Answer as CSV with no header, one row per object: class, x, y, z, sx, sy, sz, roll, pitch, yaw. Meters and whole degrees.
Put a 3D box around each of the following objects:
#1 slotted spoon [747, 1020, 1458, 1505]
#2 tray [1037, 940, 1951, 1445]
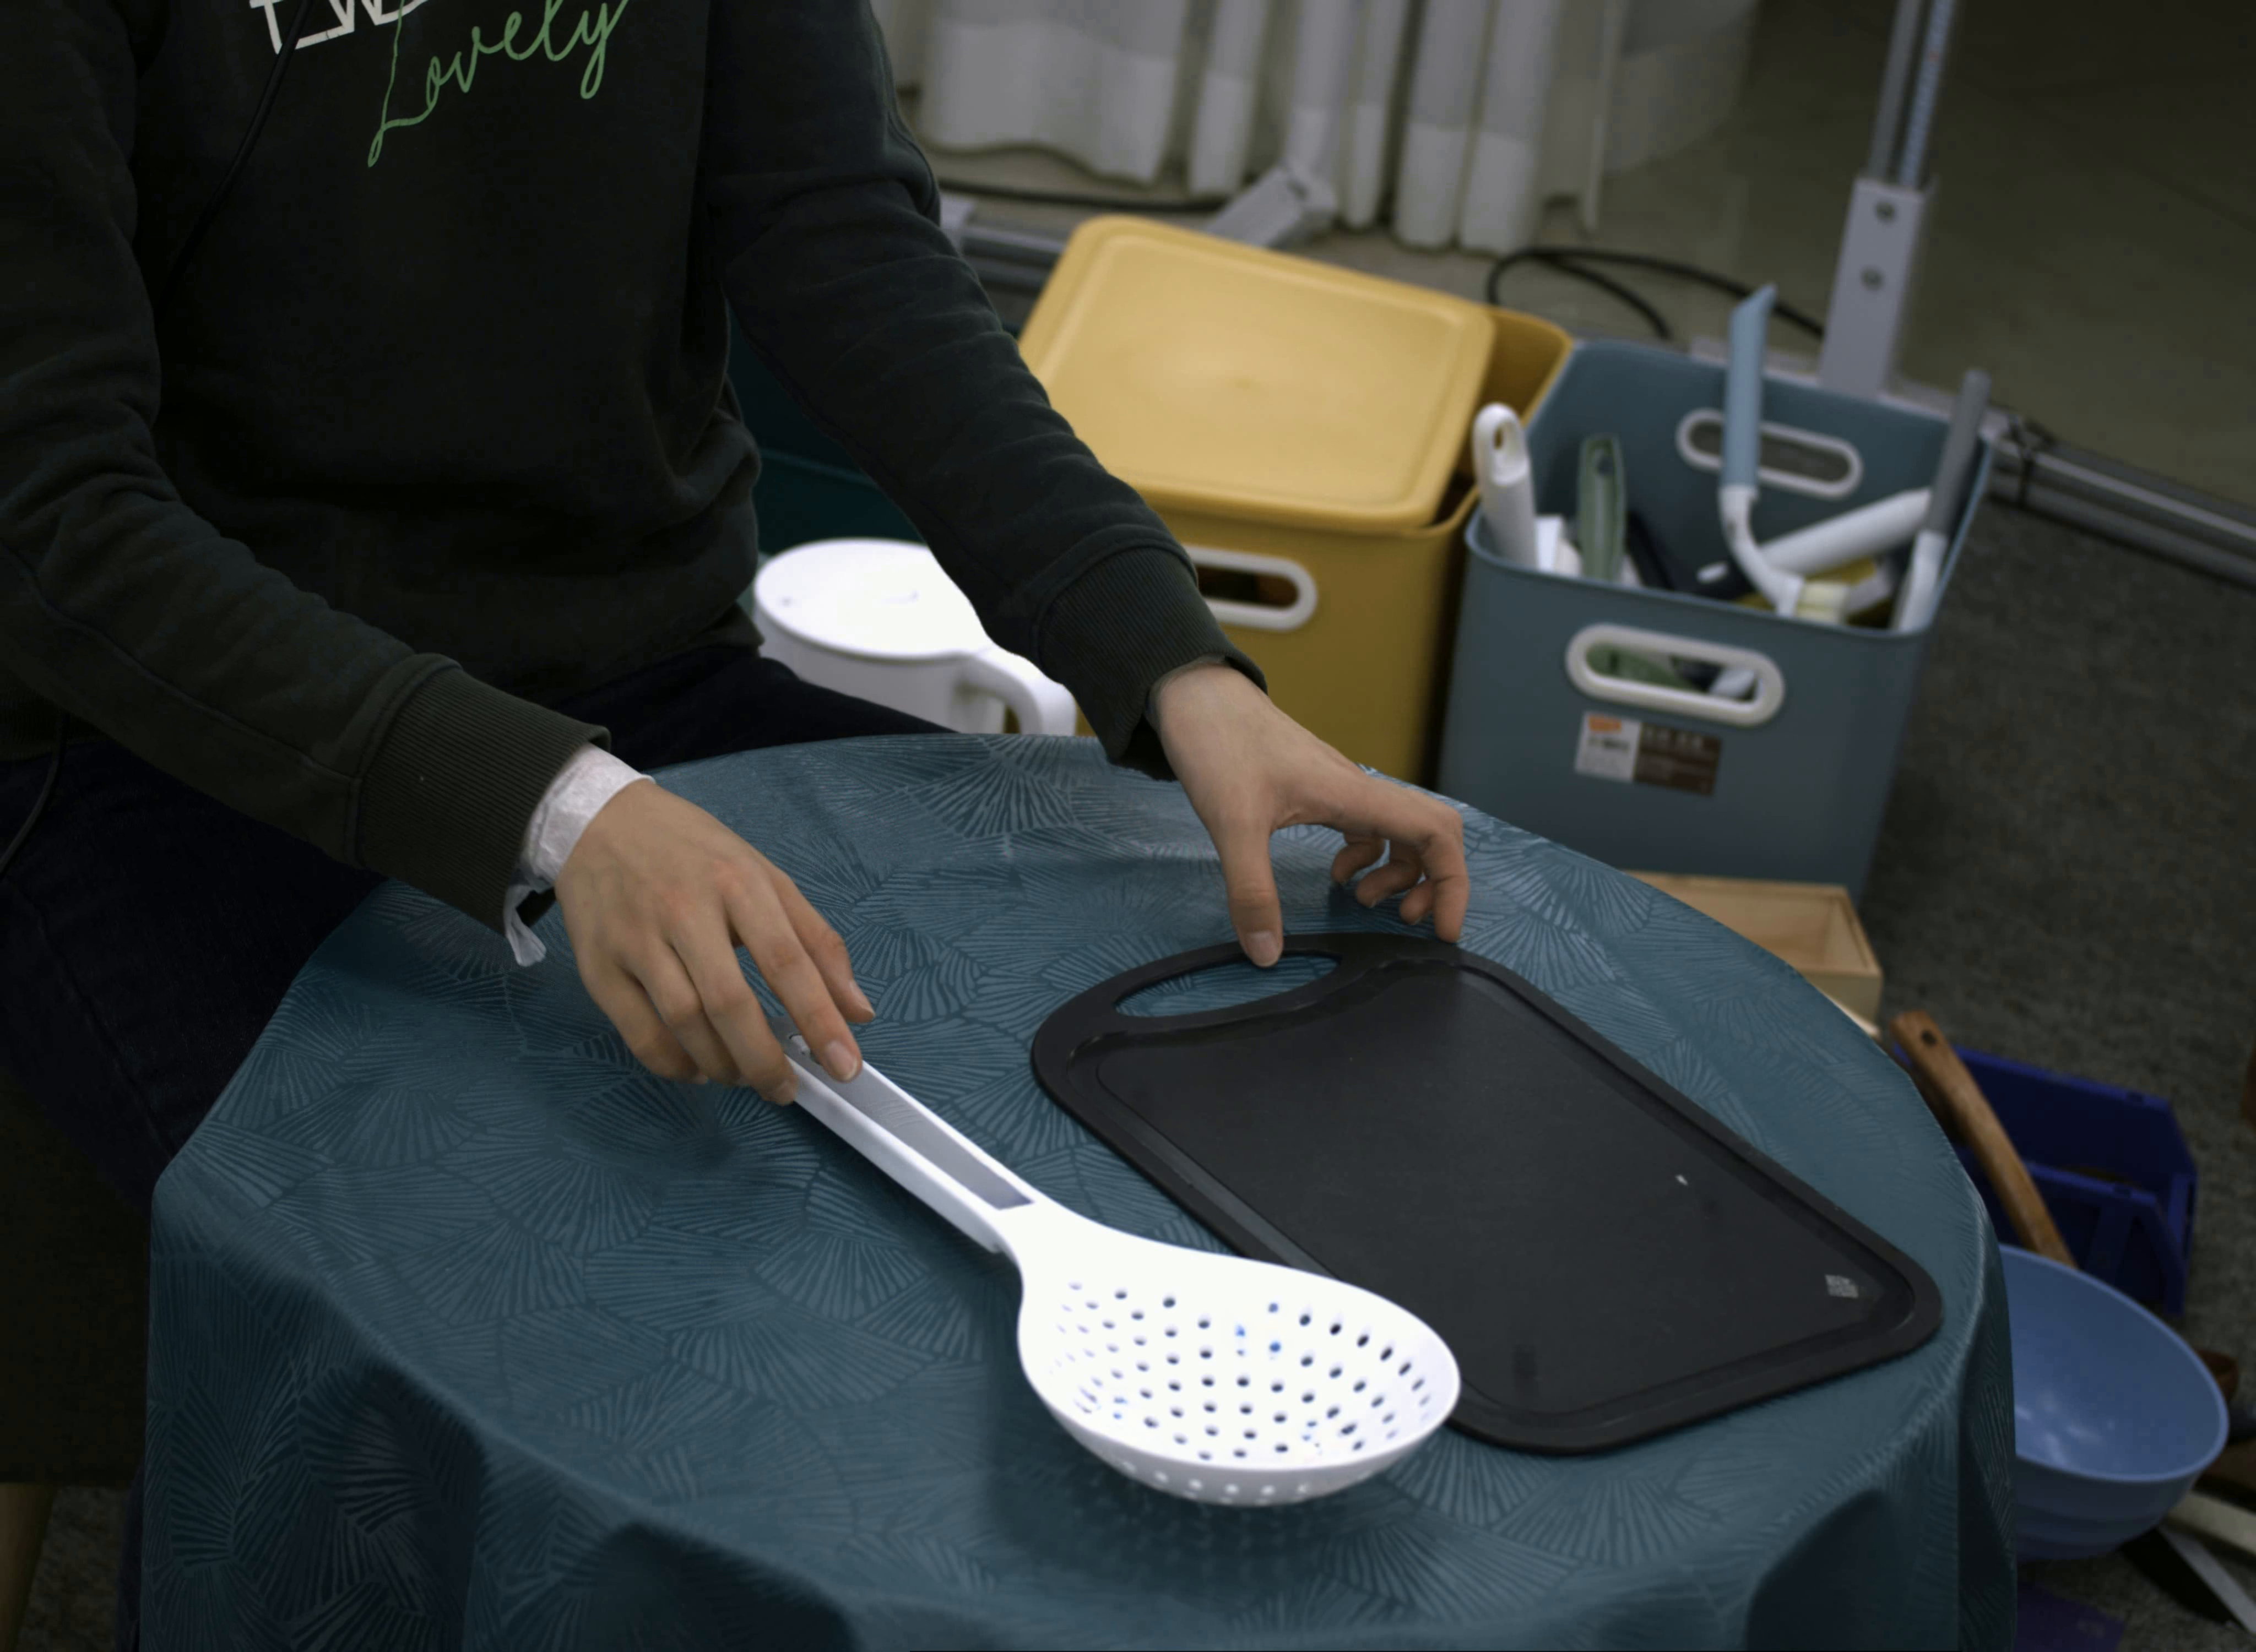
slotted spoon,-0.027,0.135,1.722,0.135,0.045,0.353,-9,30,-33
tray,0.116,0.116,1.833,0.210,0.010,0.328,-12,32,-33
